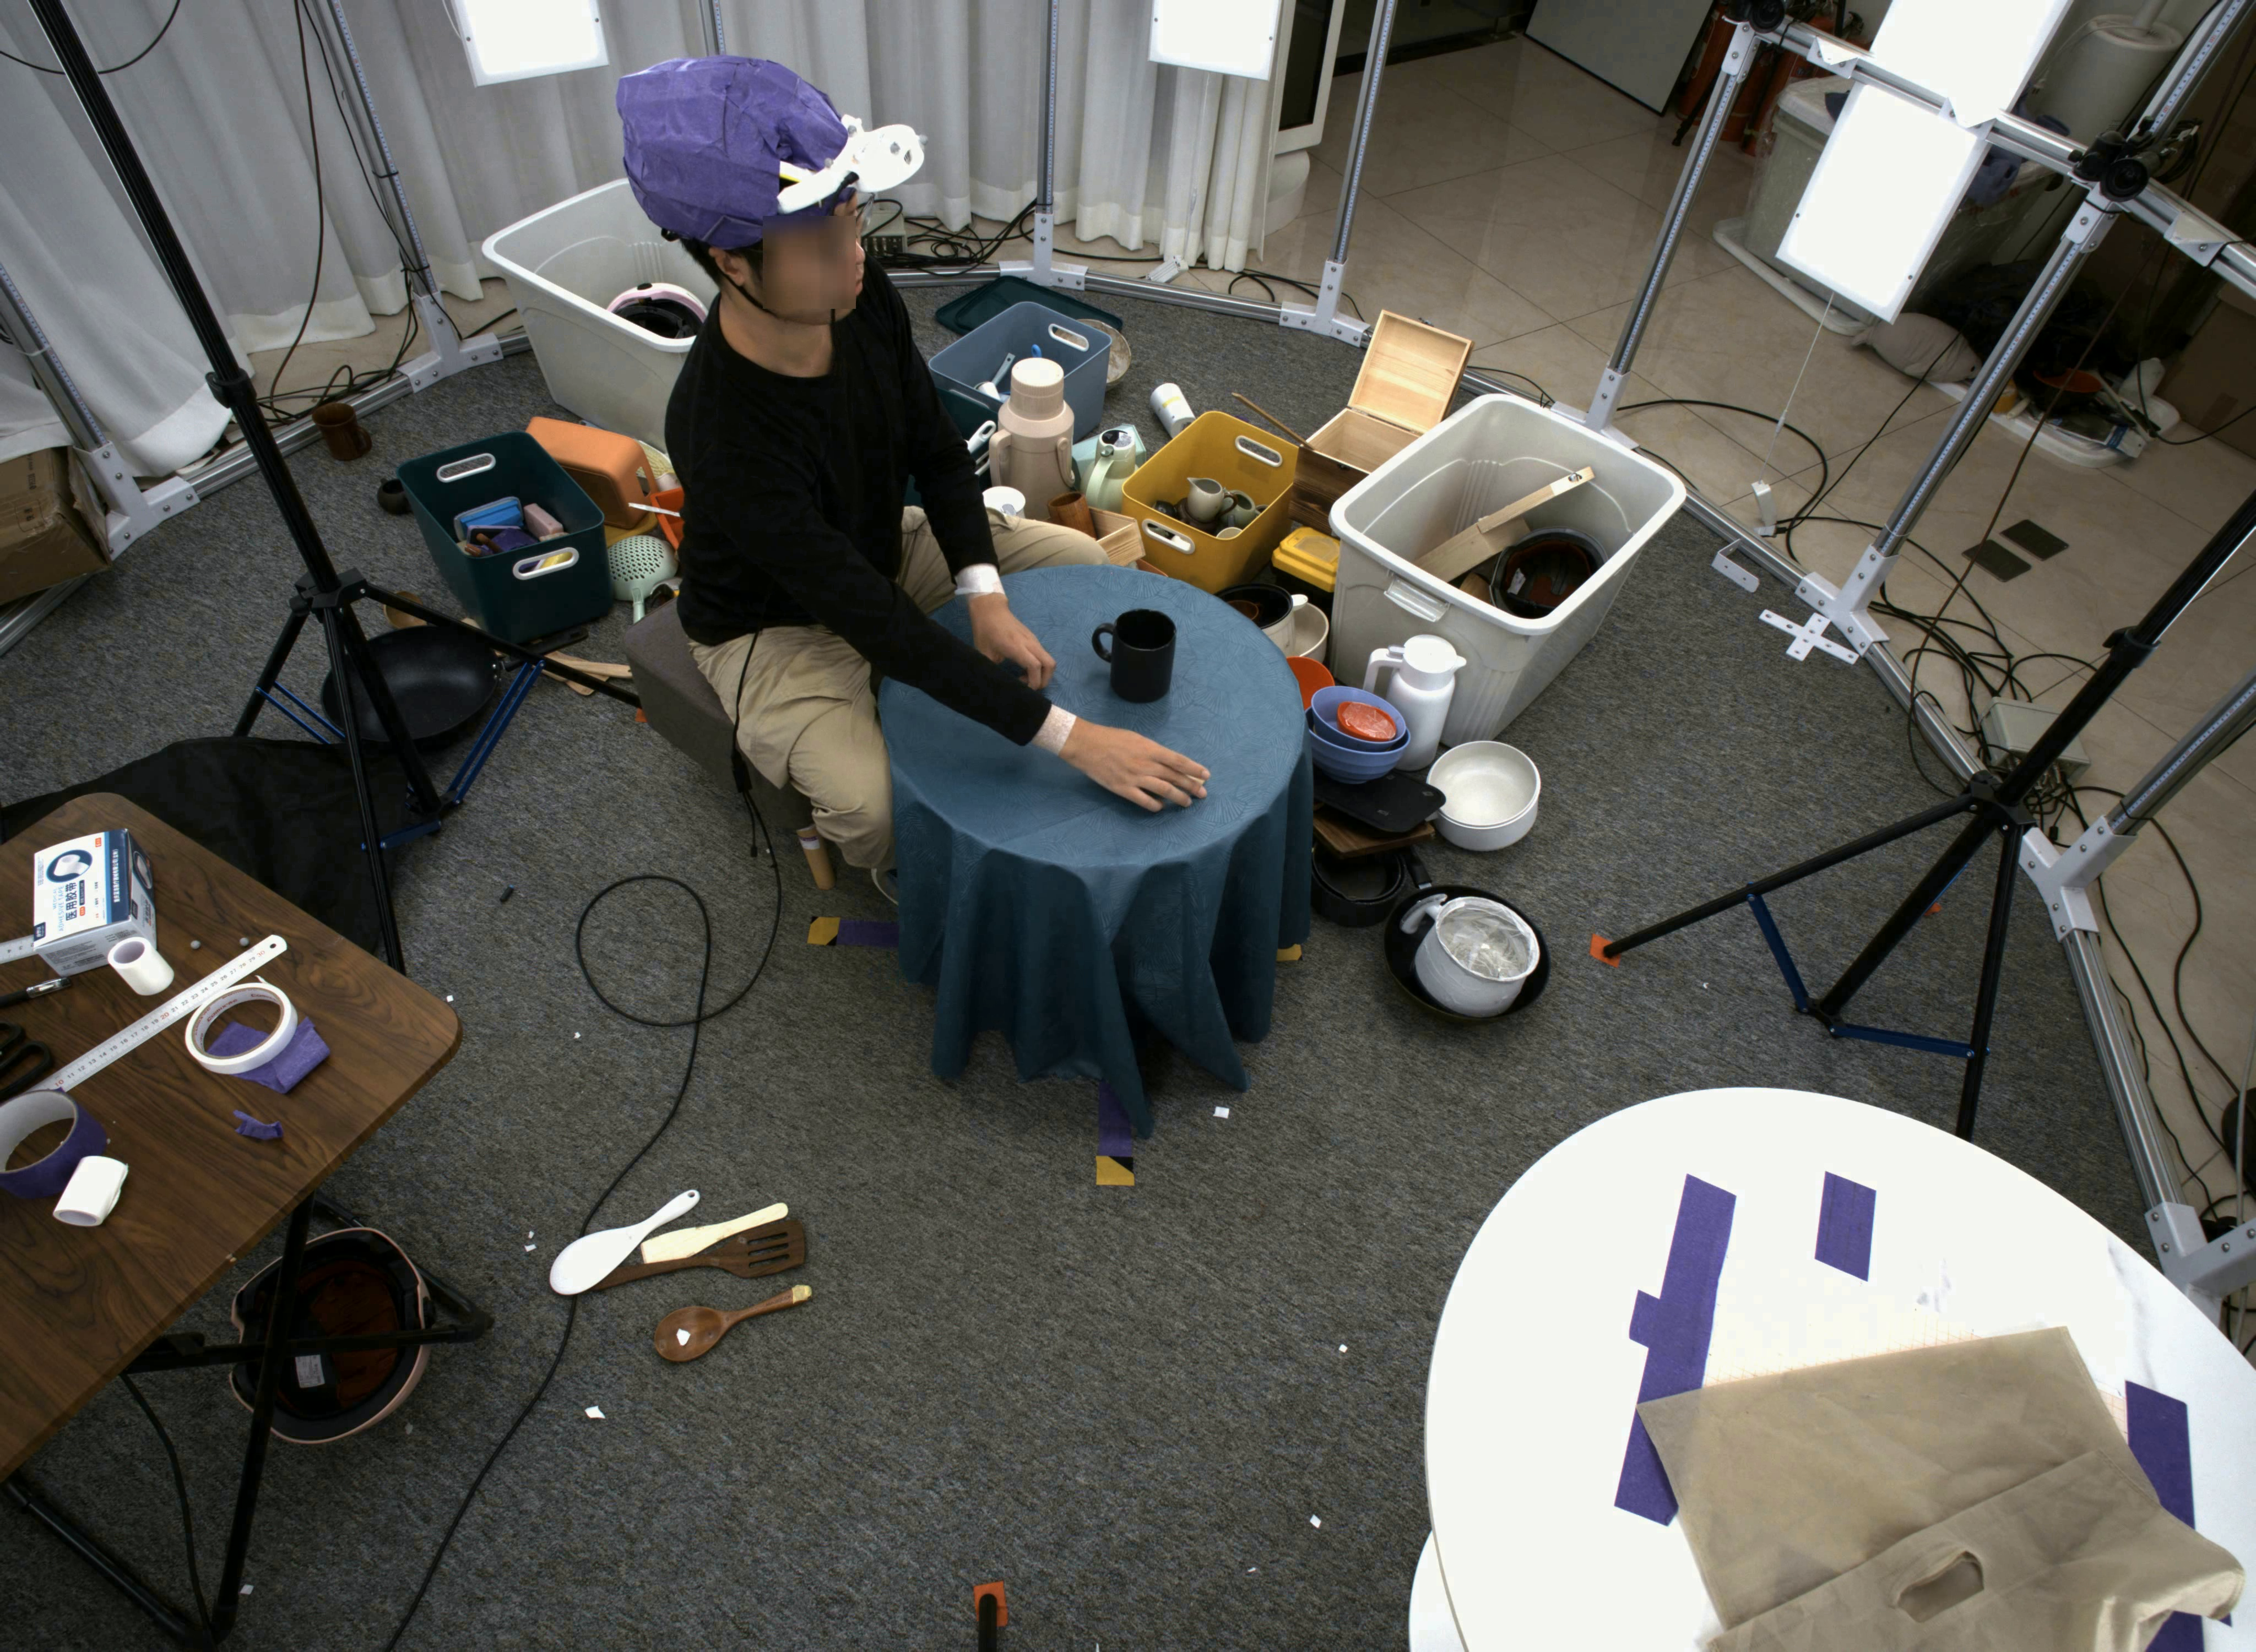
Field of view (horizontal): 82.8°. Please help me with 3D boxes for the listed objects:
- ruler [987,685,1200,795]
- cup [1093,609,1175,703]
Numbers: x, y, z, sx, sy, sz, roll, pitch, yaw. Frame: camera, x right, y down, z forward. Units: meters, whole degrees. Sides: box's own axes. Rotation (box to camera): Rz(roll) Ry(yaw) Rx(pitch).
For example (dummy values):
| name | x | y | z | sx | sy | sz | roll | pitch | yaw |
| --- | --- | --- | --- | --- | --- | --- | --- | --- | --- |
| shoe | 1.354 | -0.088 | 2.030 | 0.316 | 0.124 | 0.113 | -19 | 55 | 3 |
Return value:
| name | x | y | z | sx | sy | sz | roll | pitch | yaw |
| --- | --- | --- | --- | --- | --- | --- | --- | --- | --- |
| ruler | -0.050 | -0.123 | 1.767 | 0.334 | 0.021 | 0.028 | 27 | 49 | 17 |
| cup | 0.005 | -0.247 | 1.819 | 0.124 | 0.103 | 0.090 | 25 | 54 | 17 |
